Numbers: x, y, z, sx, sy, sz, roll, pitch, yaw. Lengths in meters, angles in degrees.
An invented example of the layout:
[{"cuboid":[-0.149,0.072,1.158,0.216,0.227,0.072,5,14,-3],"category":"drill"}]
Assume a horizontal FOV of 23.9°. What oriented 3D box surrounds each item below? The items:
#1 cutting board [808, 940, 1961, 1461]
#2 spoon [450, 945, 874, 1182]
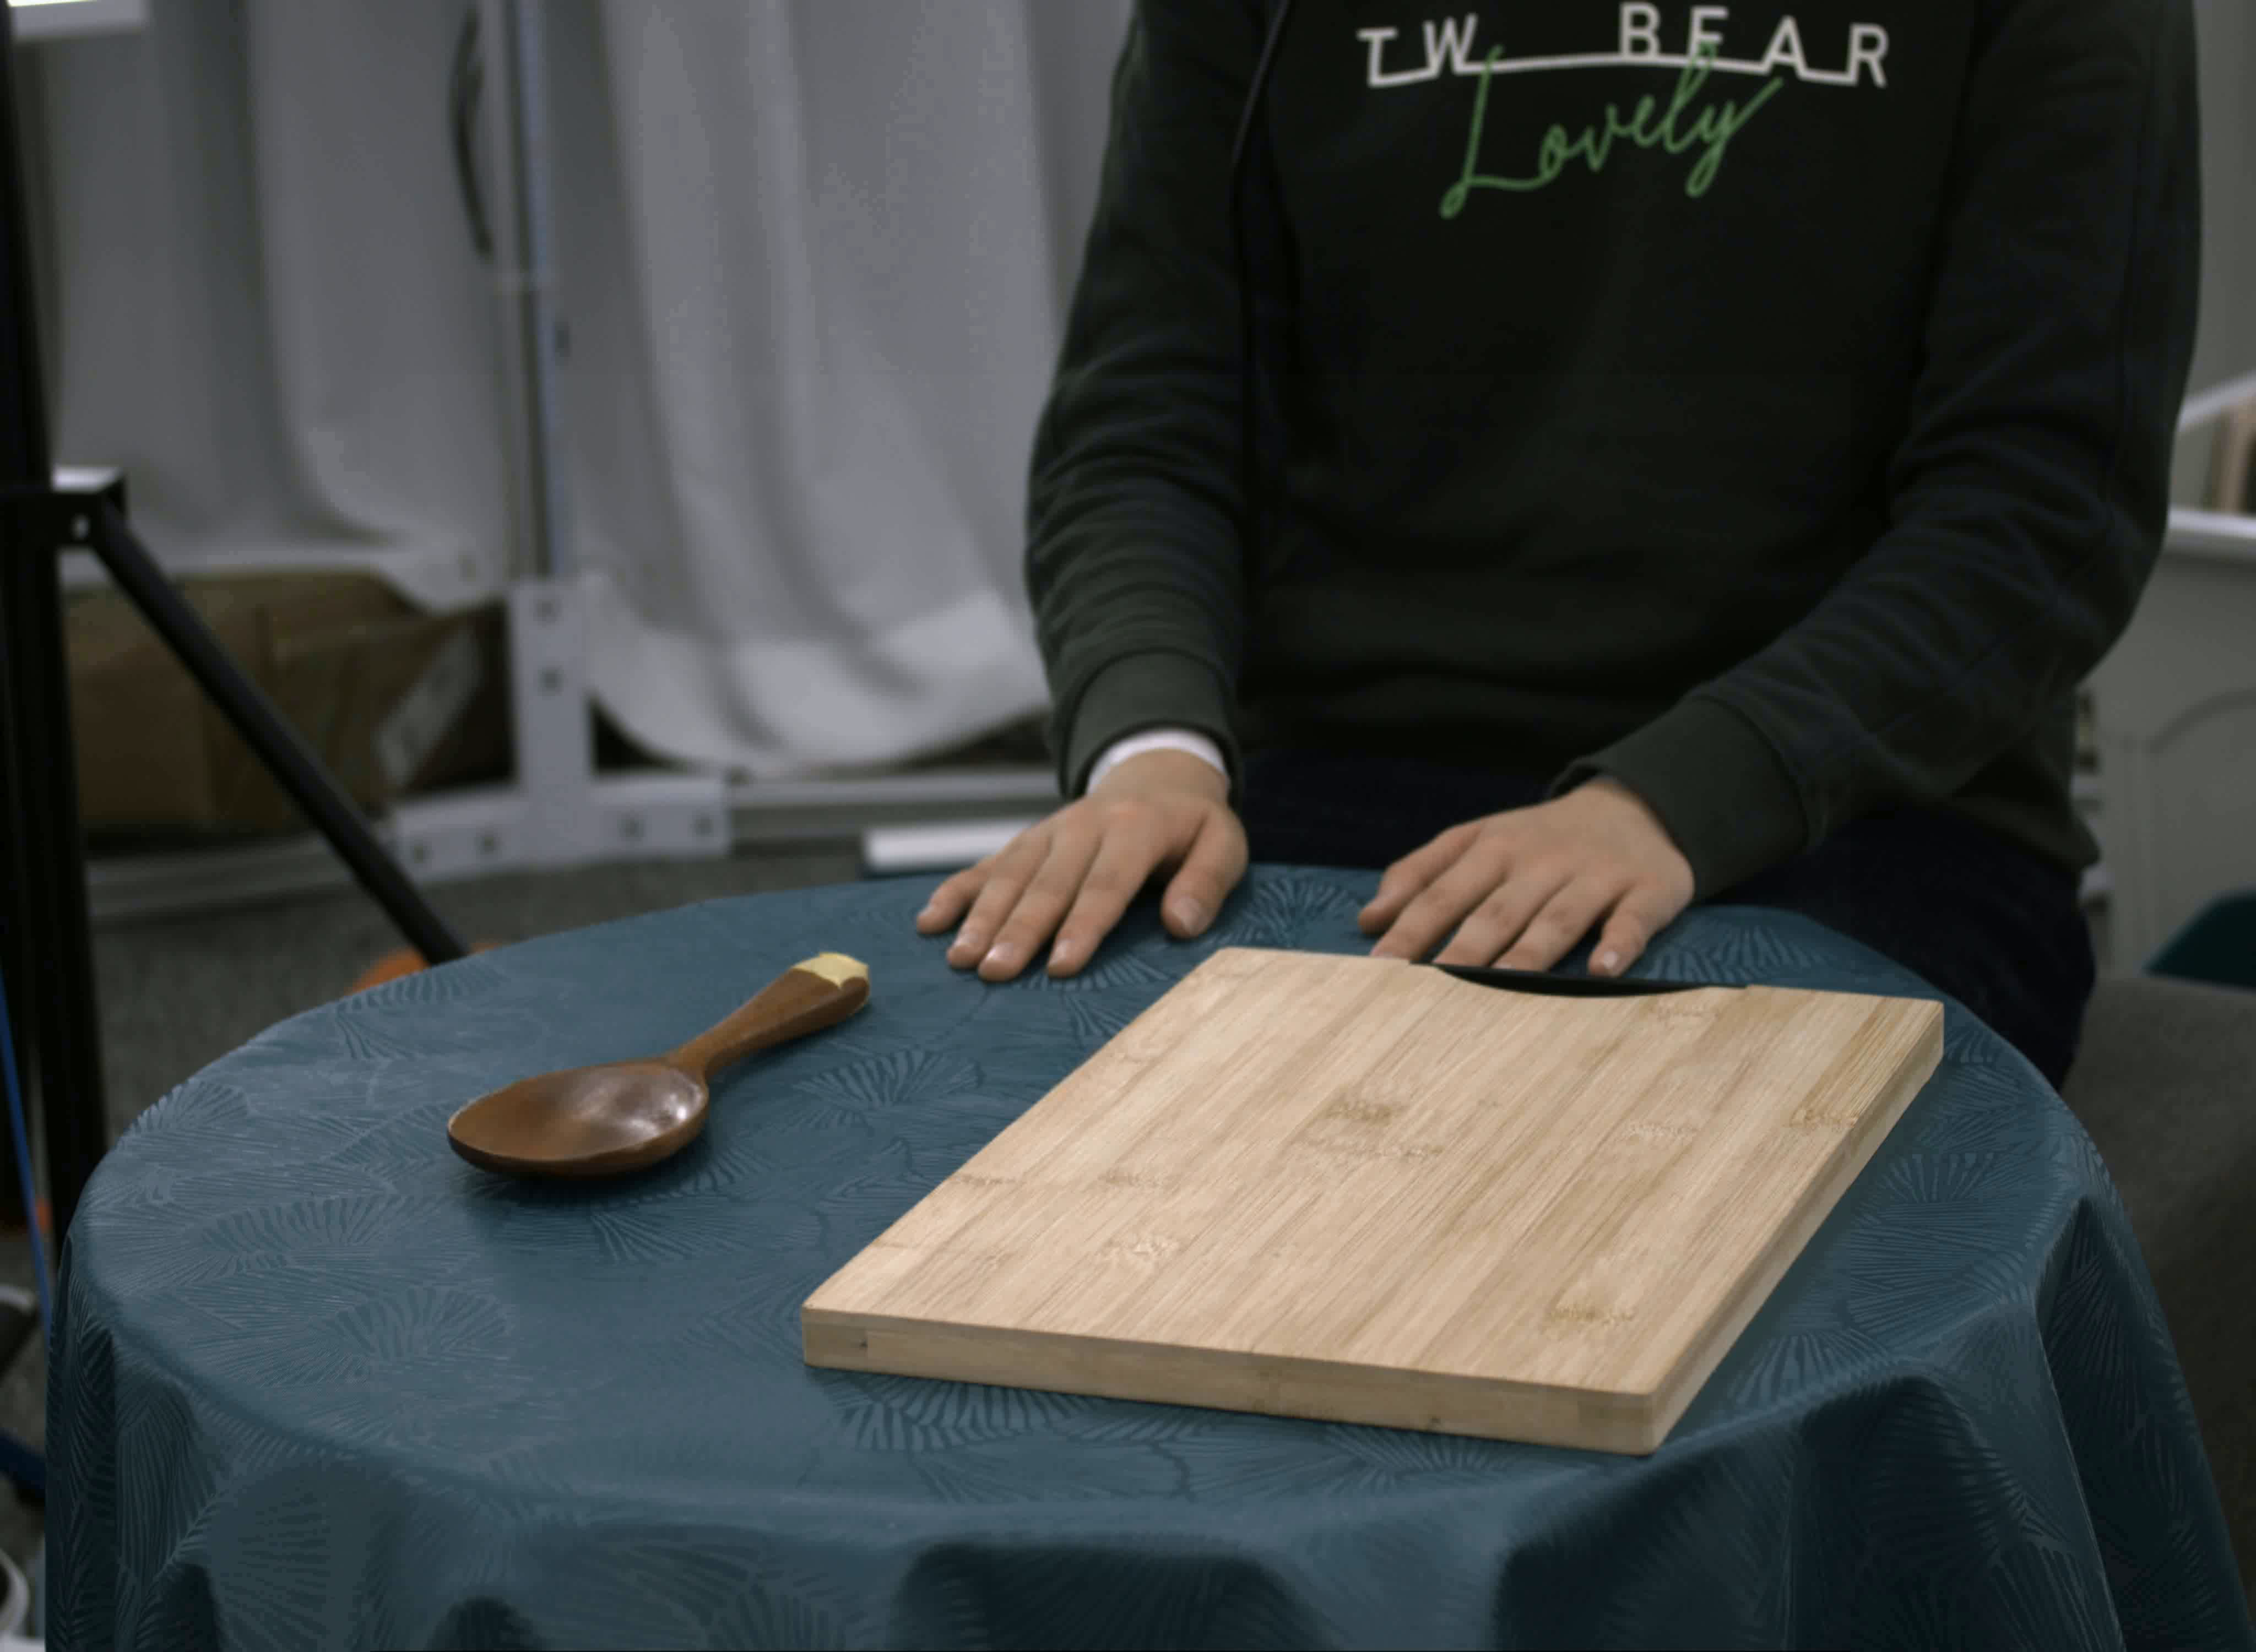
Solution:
[{"cuboid":[0.085,0.100,1.543,0.254,0.023,0.344,4,17,20],"category":"cutting board"},{"cuboid":[-0.136,0.075,1.663,0.076,0.017,0.212,4,17,26],"category":"spoon"}]
